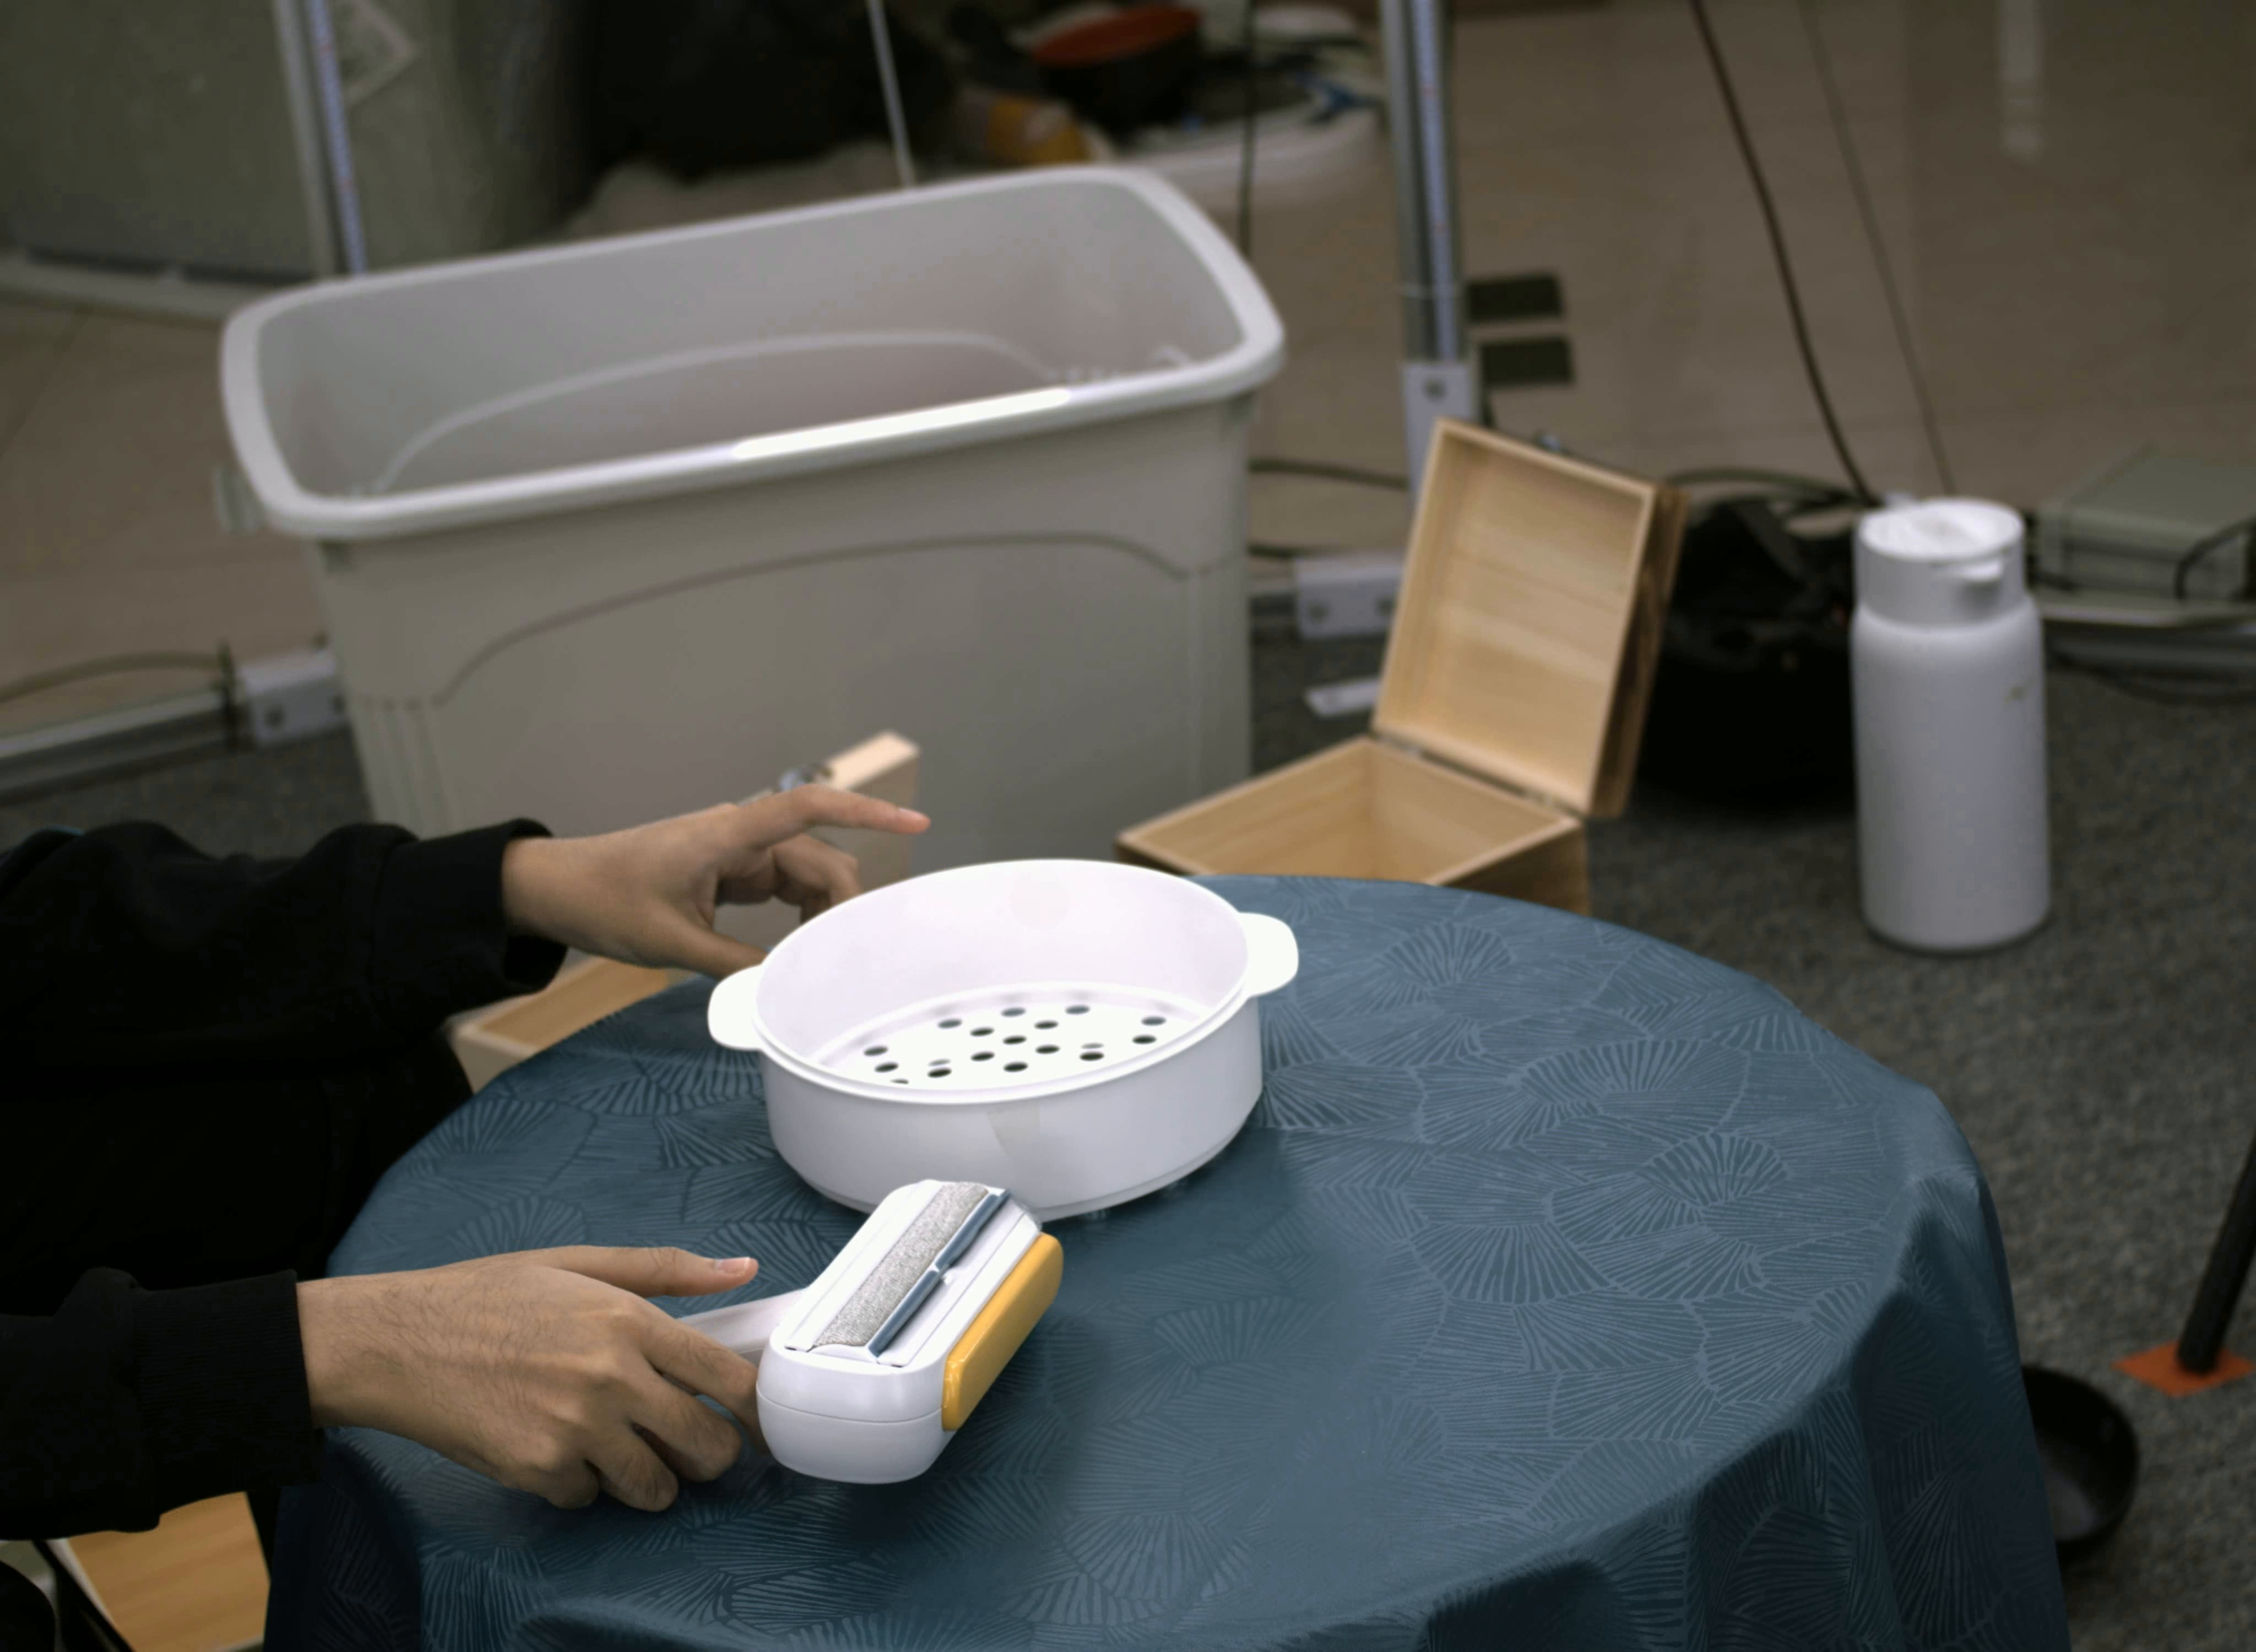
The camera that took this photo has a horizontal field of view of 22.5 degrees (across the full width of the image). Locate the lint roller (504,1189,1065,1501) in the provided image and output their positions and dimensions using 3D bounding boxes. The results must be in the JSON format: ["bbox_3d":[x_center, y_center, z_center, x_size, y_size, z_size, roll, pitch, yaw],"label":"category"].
[{"bbox_3d":[-0.133,0.184,2.000,0.192,0.075,0.190,0,21,18],"label":"lint roller"}]

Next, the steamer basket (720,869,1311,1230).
[{"bbox_3d":[-0.040,0.087,2.191,0.230,0.070,0.199,-8,23,2],"label":"steamer basket"}]
